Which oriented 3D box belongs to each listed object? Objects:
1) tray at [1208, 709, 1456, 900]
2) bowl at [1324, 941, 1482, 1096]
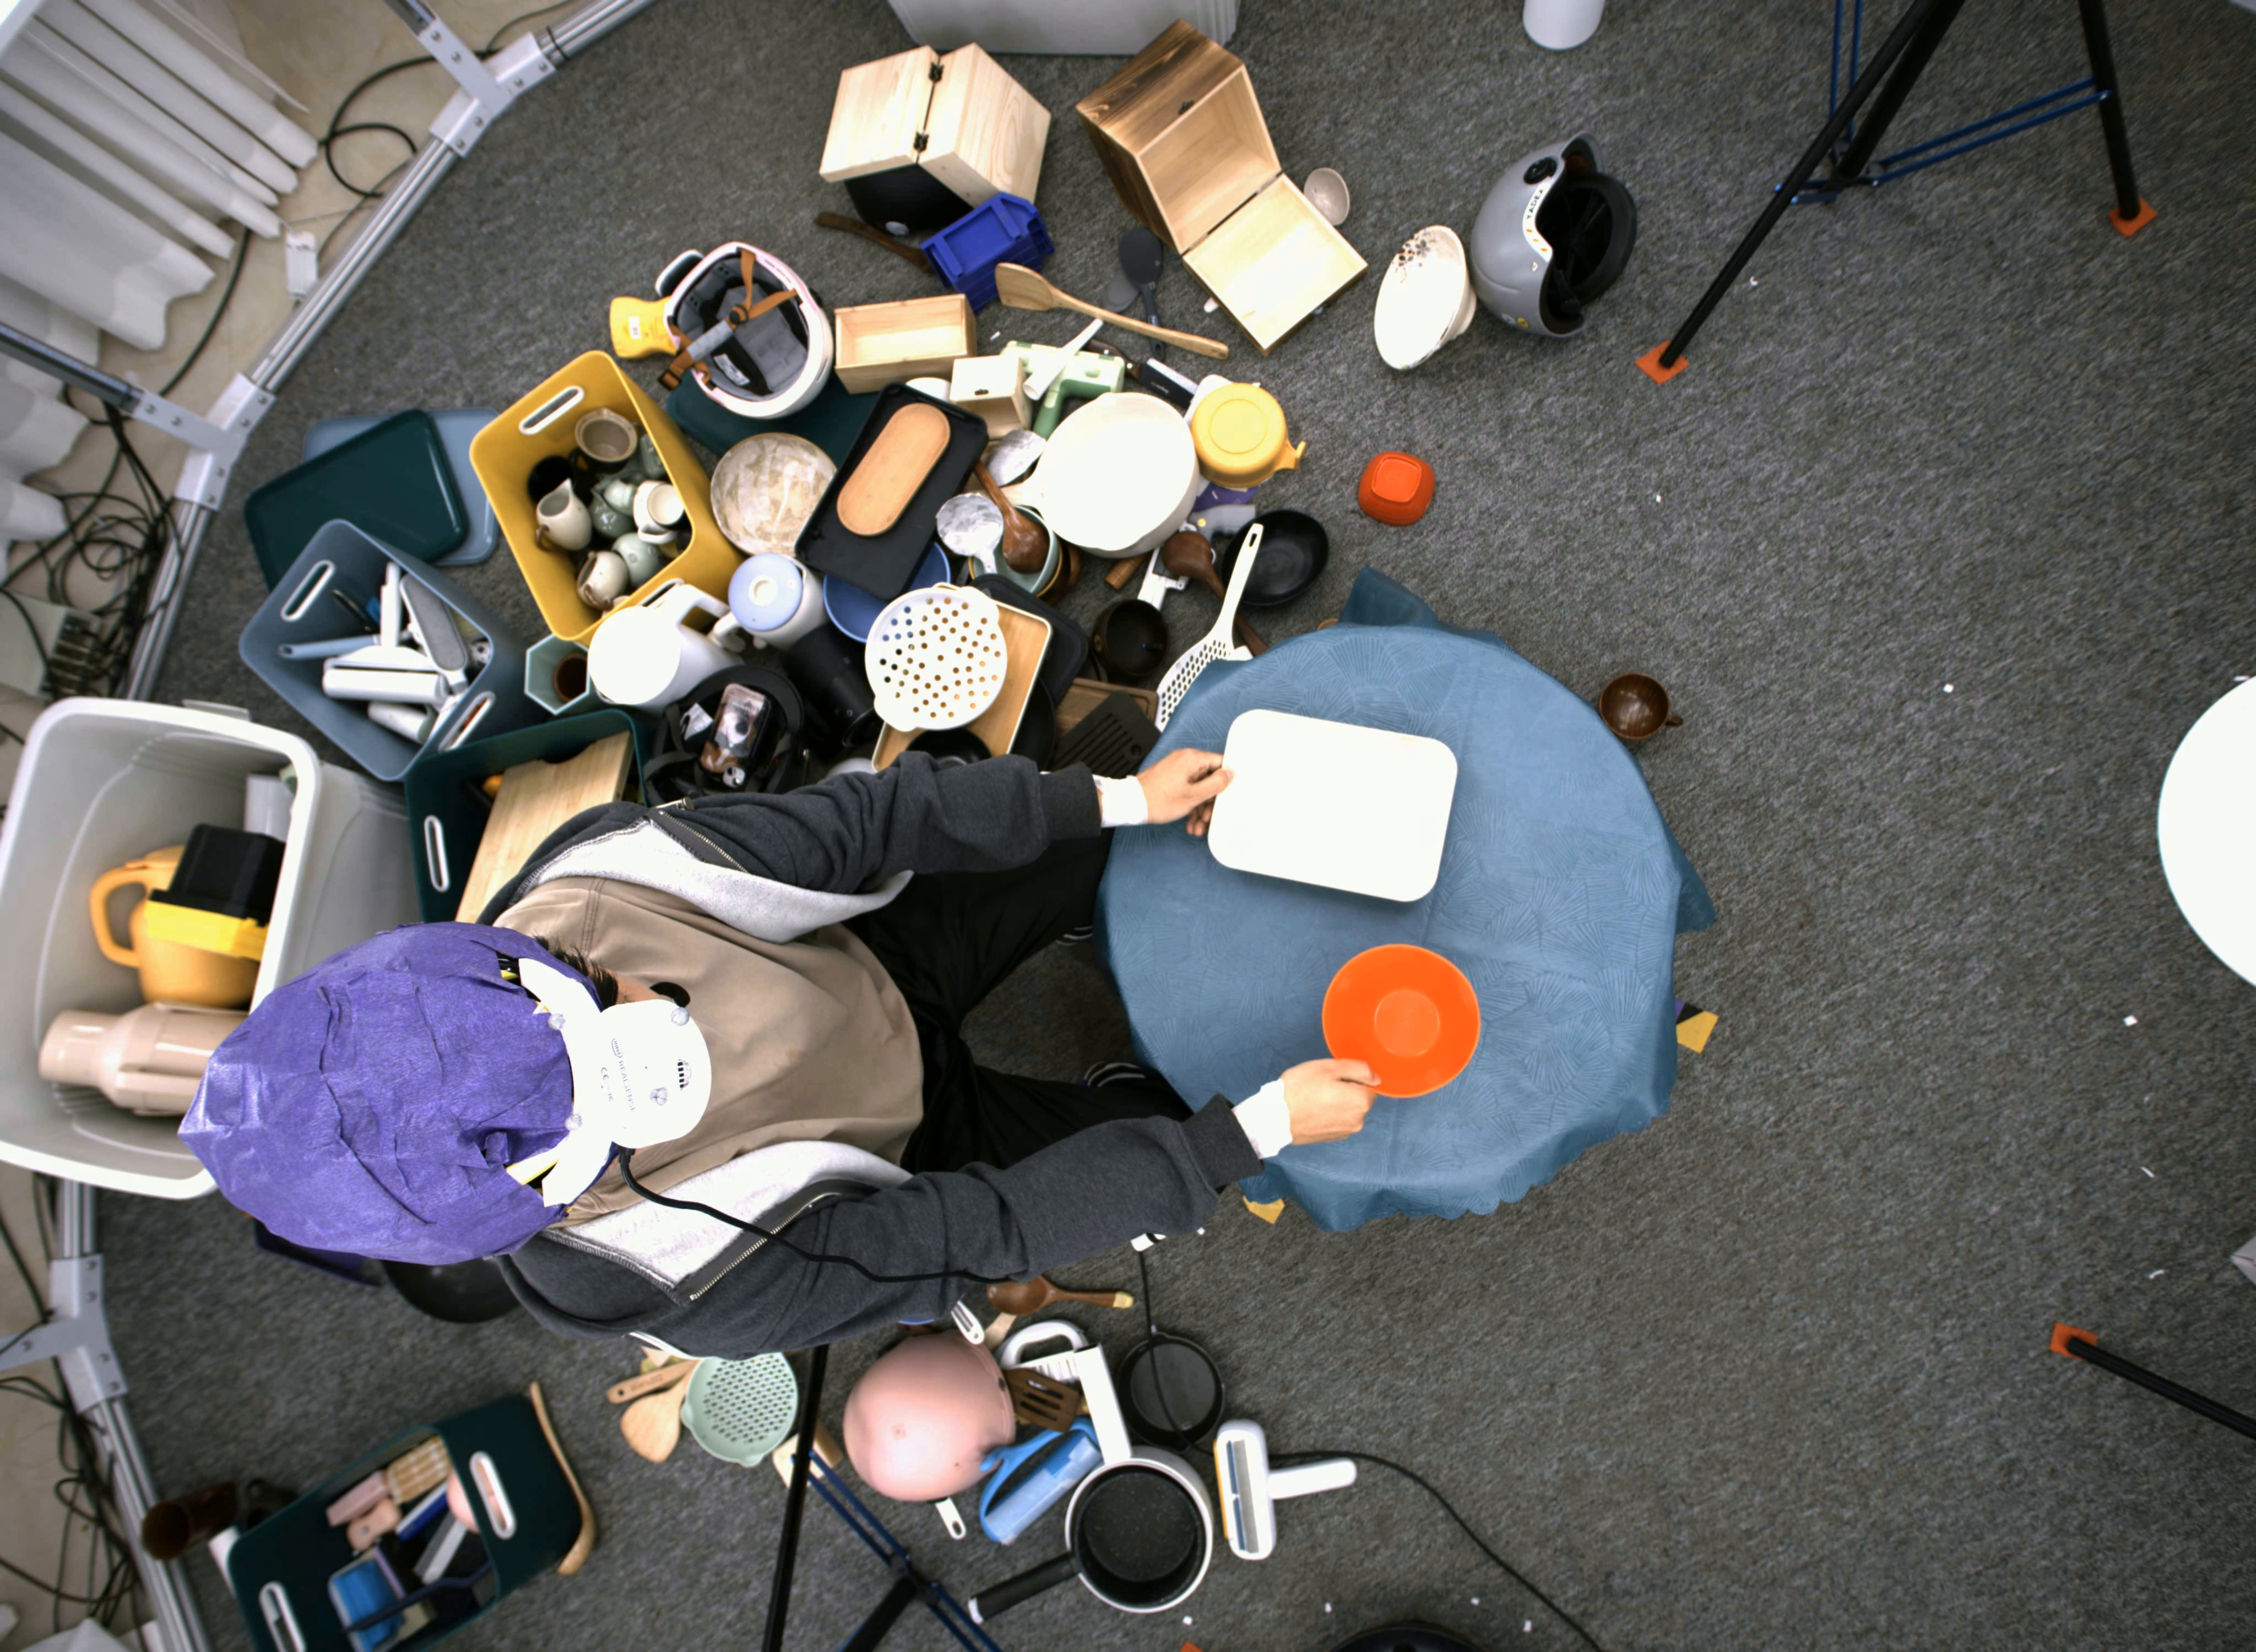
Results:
[{"bbox_3d":[0.209,-0.024,1.425,0.240,0.017,0.171,11,89,12],"label":"tray"},{"bbox_3d":[0.268,0.182,1.343,0.149,0.104,0.148,0,89,13],"label":"bowl"}]
